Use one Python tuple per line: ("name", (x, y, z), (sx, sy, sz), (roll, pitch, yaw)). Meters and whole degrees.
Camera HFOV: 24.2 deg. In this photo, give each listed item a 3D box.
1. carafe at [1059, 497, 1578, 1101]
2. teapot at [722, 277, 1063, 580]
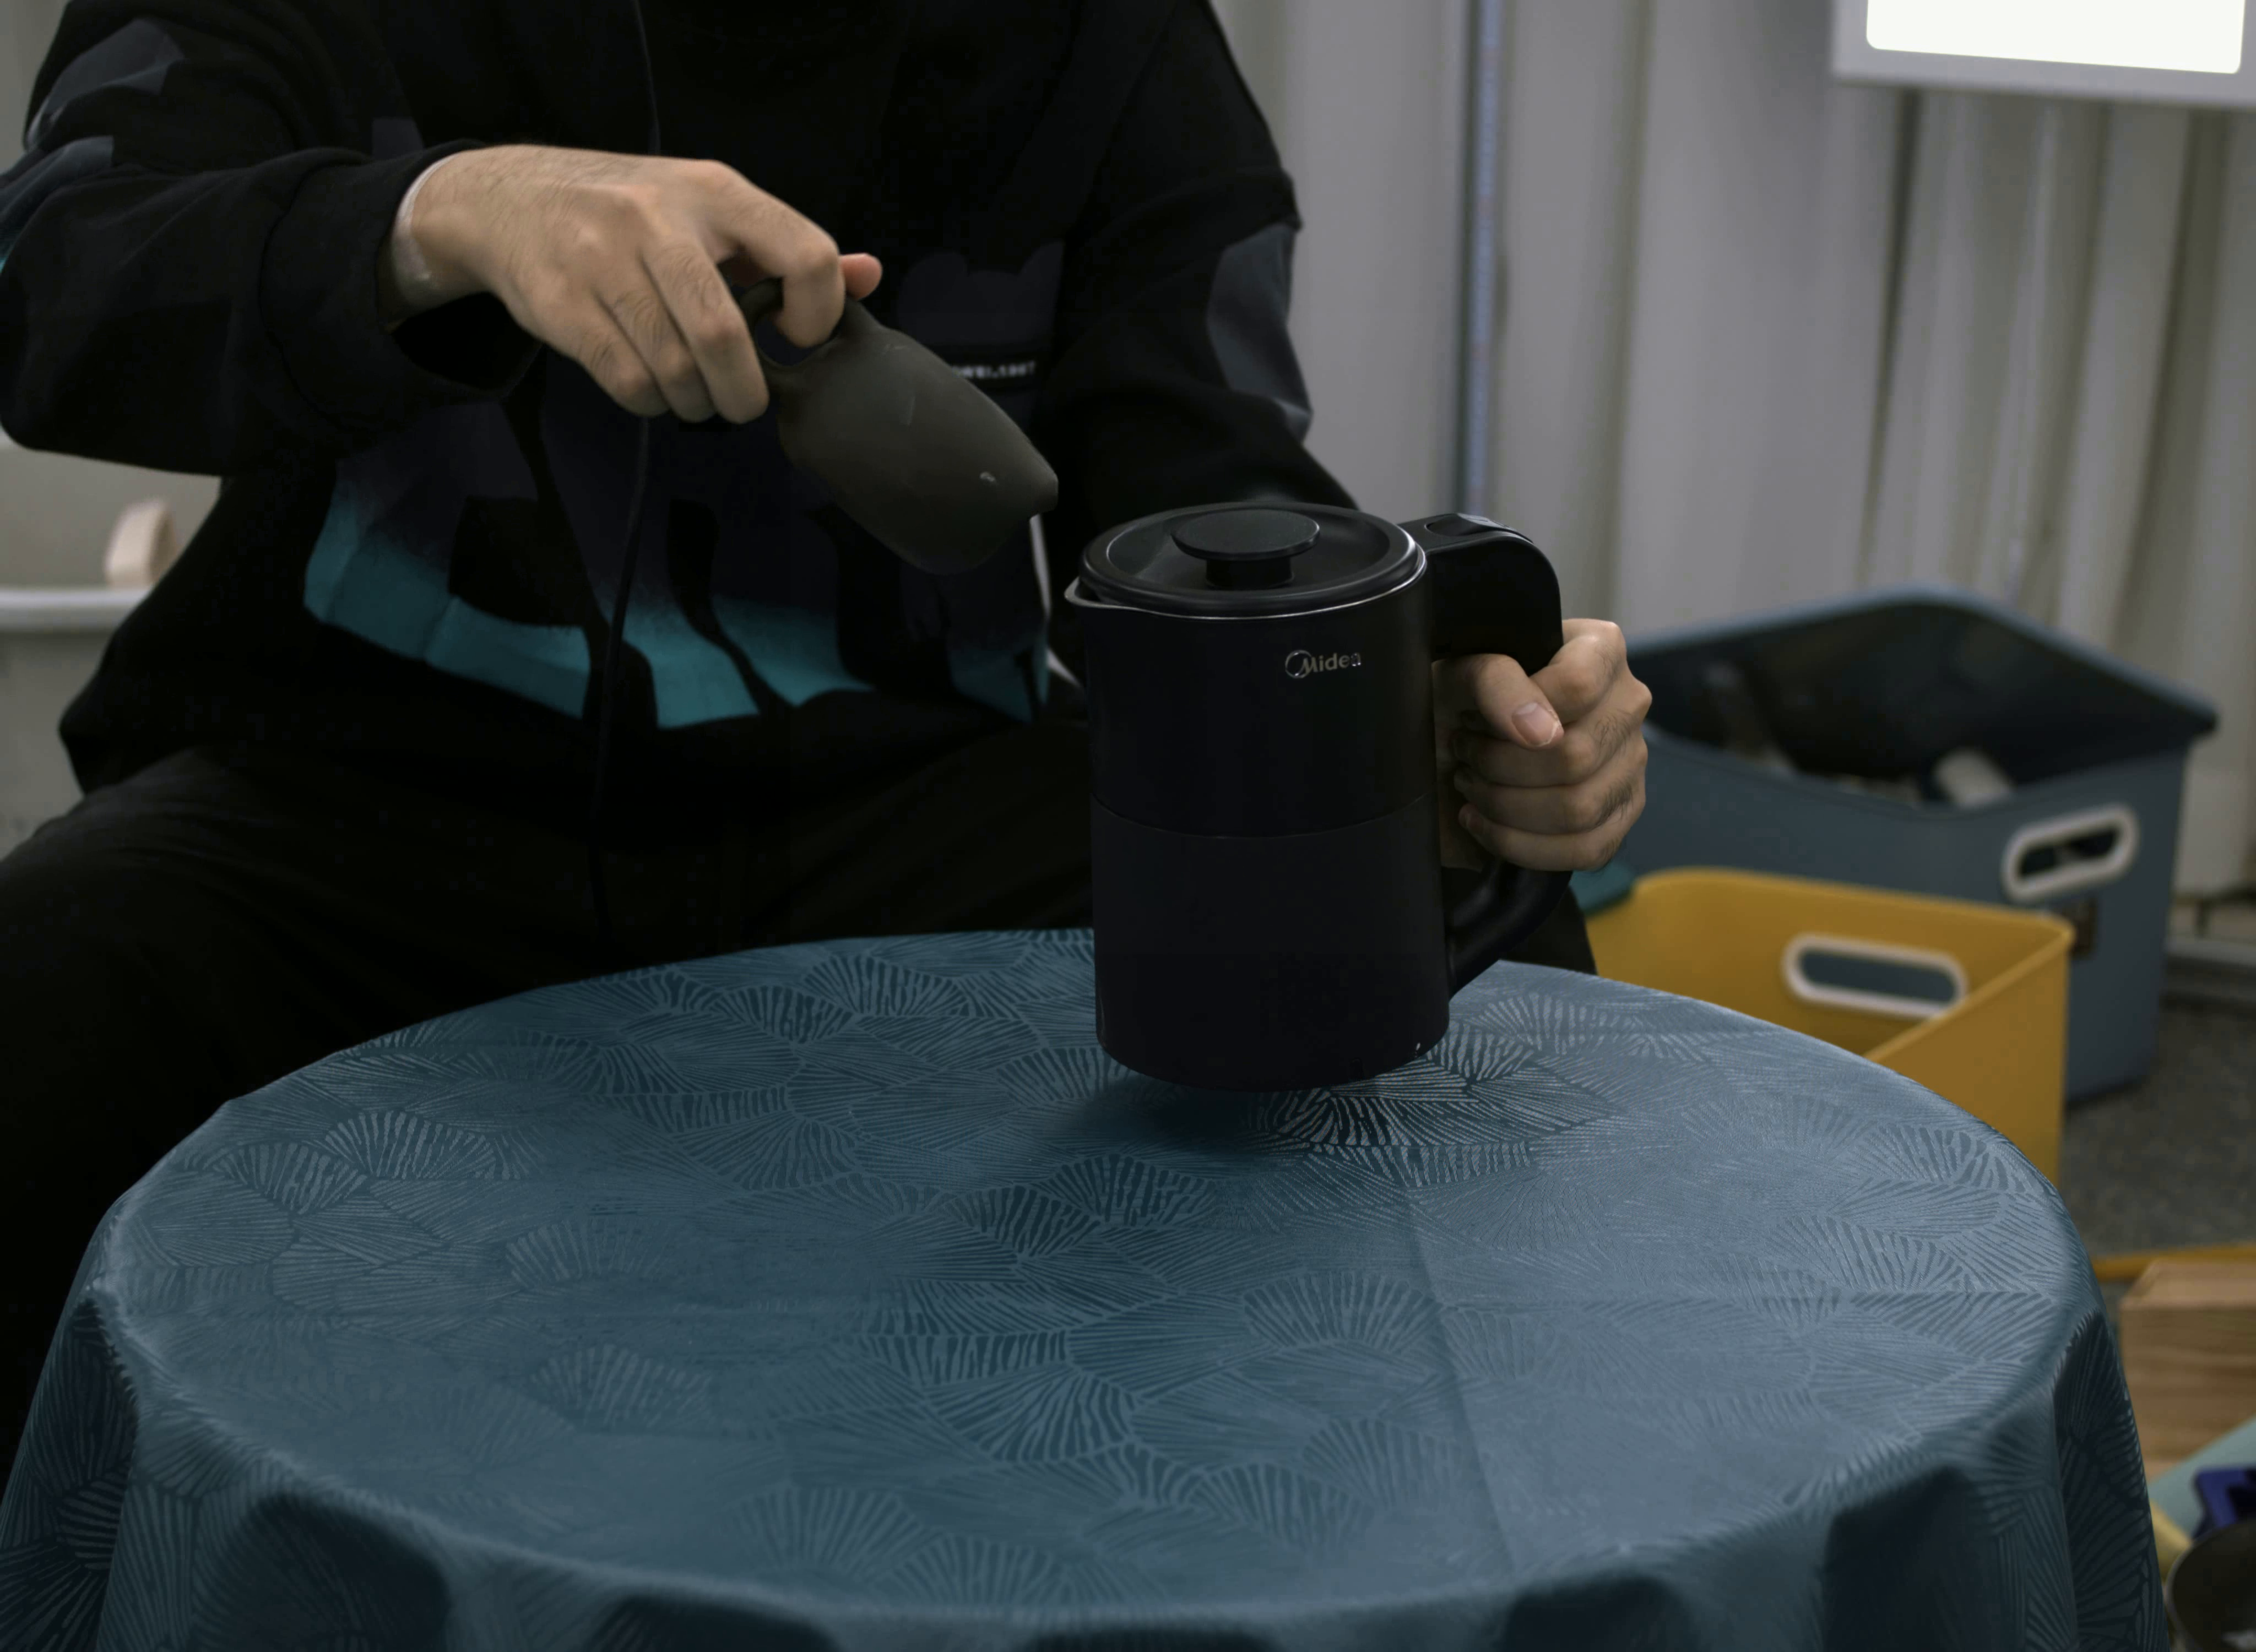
("carafe", (0.062, -0.019, 1.673), (0.172, 0.175, 0.113), (-14, 22, -25))
("teapot", (-0.074, -0.121, 1.587), (0.114, 0.053, 0.082), (43, -4, -9))
